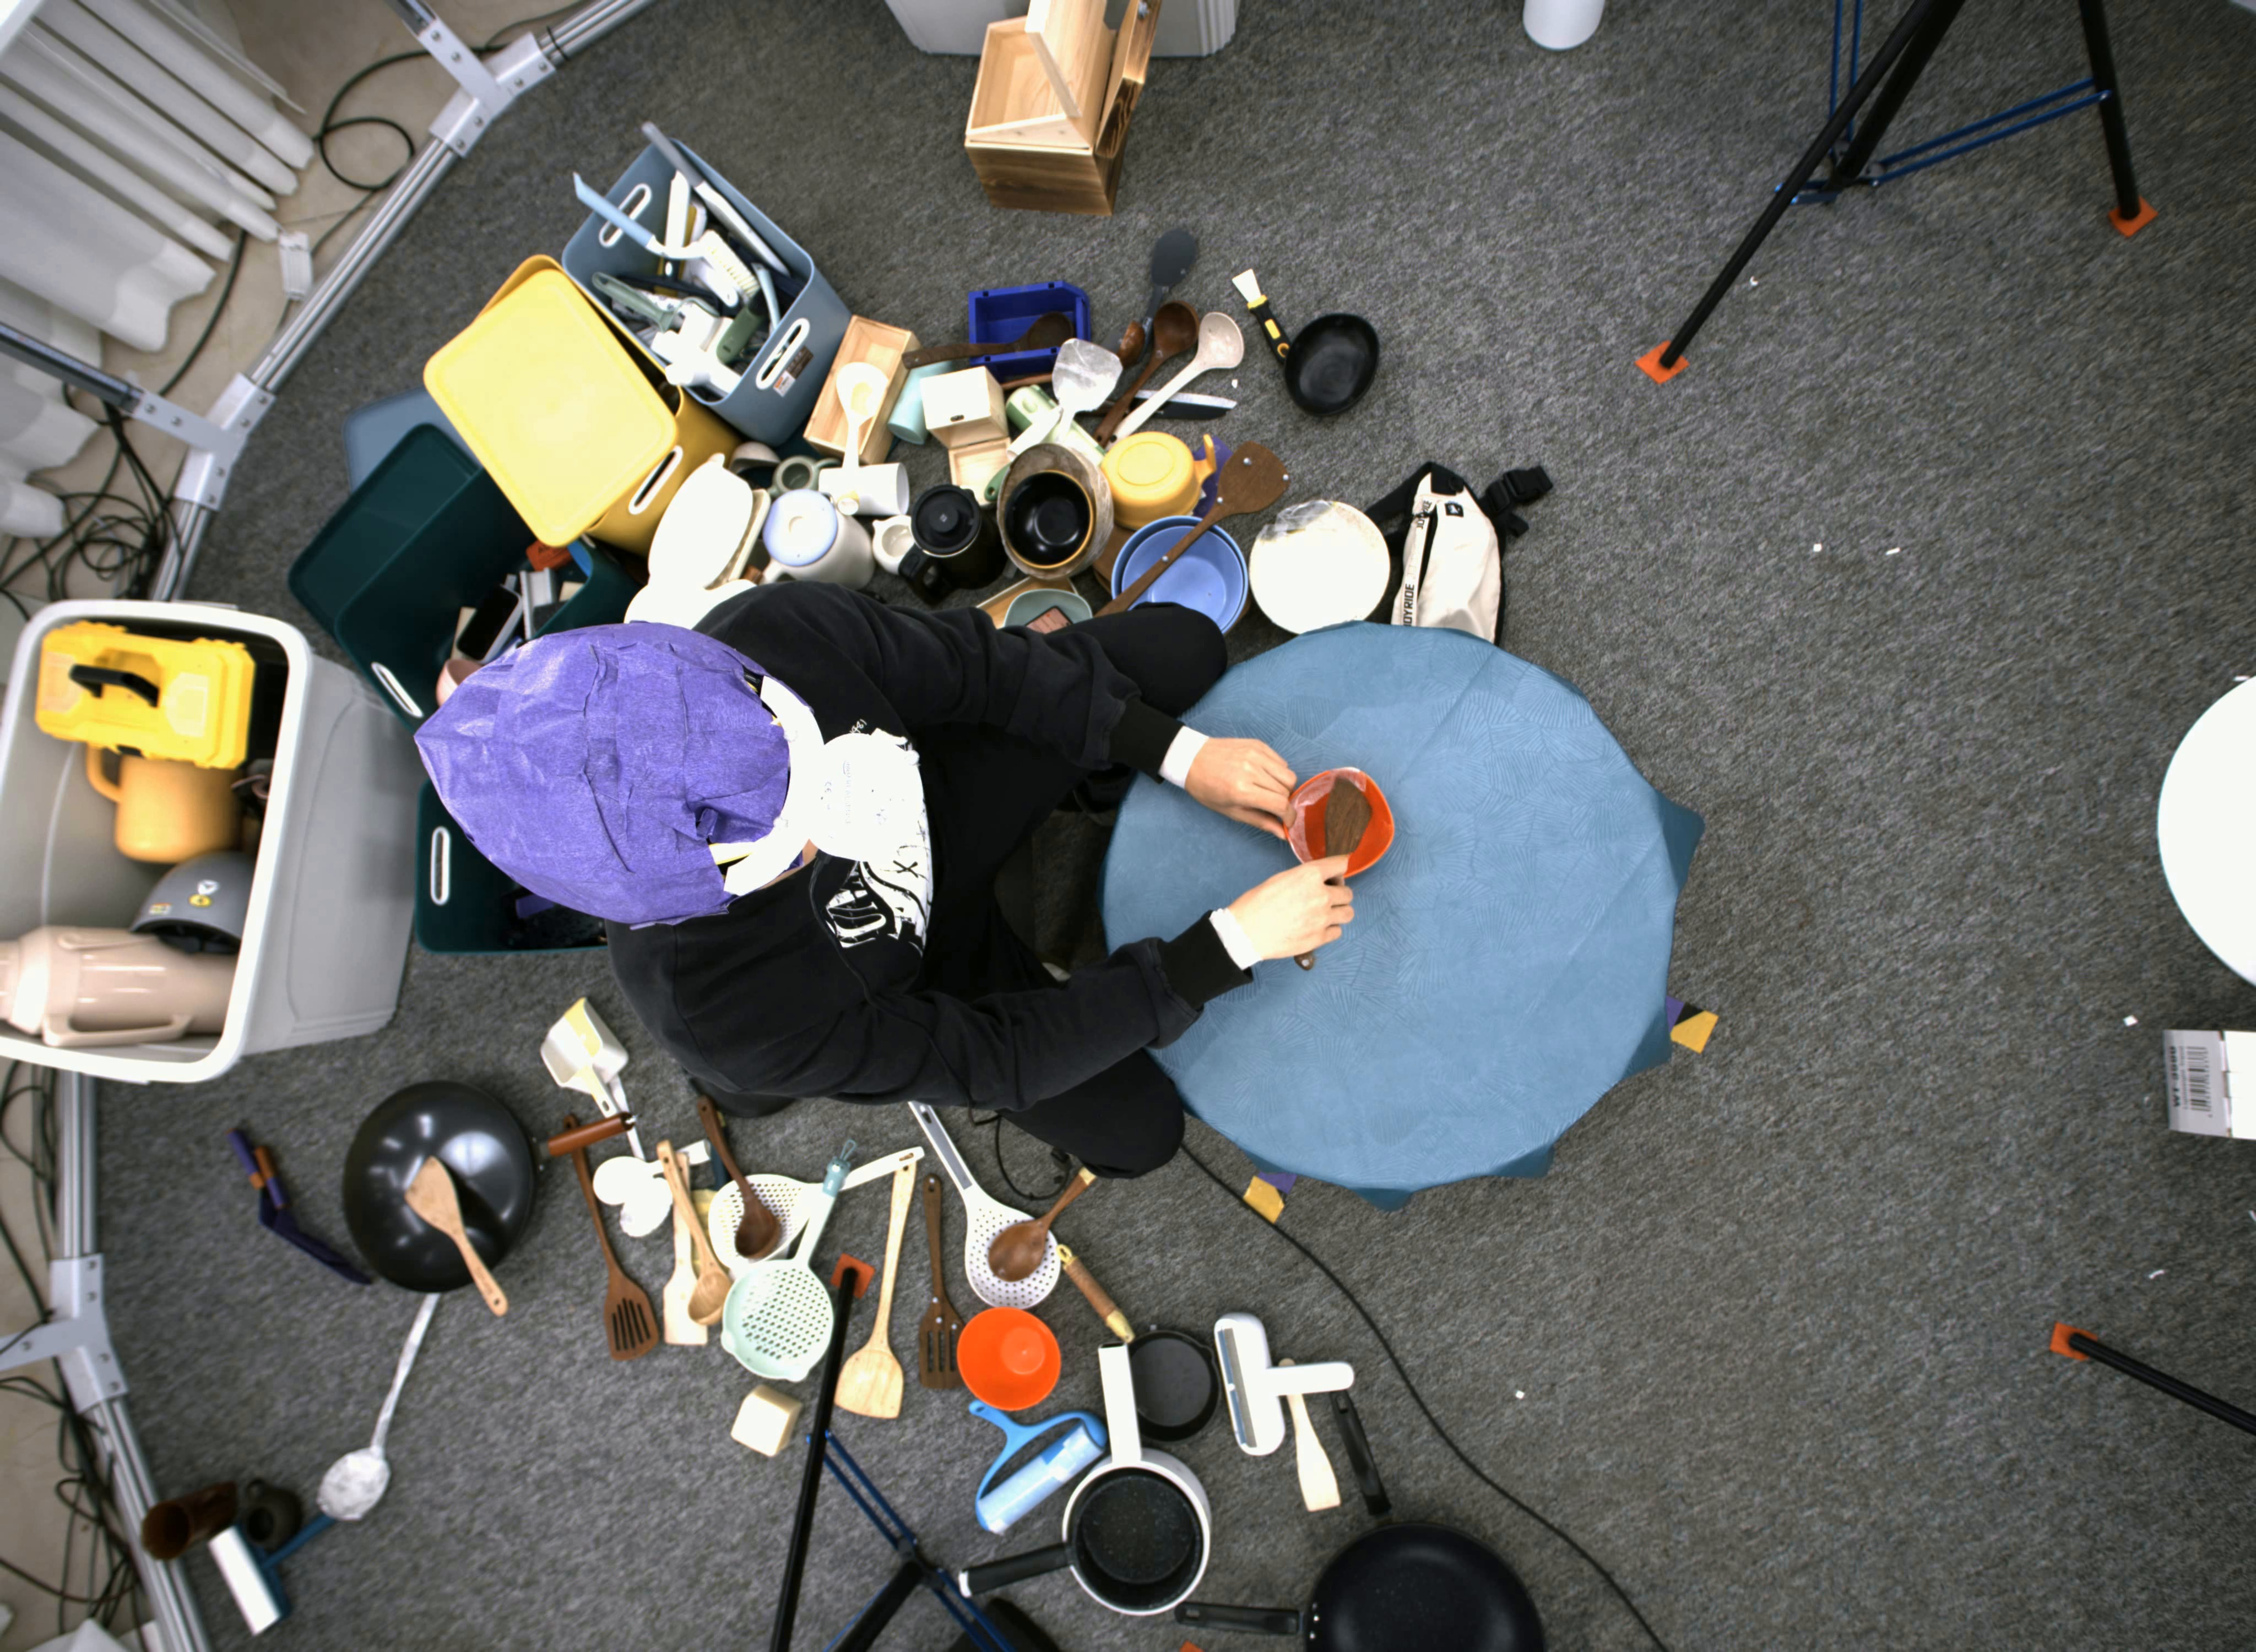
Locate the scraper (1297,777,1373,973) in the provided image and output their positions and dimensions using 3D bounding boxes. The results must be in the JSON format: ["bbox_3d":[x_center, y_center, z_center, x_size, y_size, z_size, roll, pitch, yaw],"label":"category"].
[{"bbox_3d":[0.201,0.050,1.376,0.011,0.077,0.206,-5,54,41],"label":"scraper"}]

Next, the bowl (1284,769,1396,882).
[{"bbox_3d":[0.216,-0.003,1.445,0.119,0.051,0.119,0,97,-5],"label":"bowl"}]
